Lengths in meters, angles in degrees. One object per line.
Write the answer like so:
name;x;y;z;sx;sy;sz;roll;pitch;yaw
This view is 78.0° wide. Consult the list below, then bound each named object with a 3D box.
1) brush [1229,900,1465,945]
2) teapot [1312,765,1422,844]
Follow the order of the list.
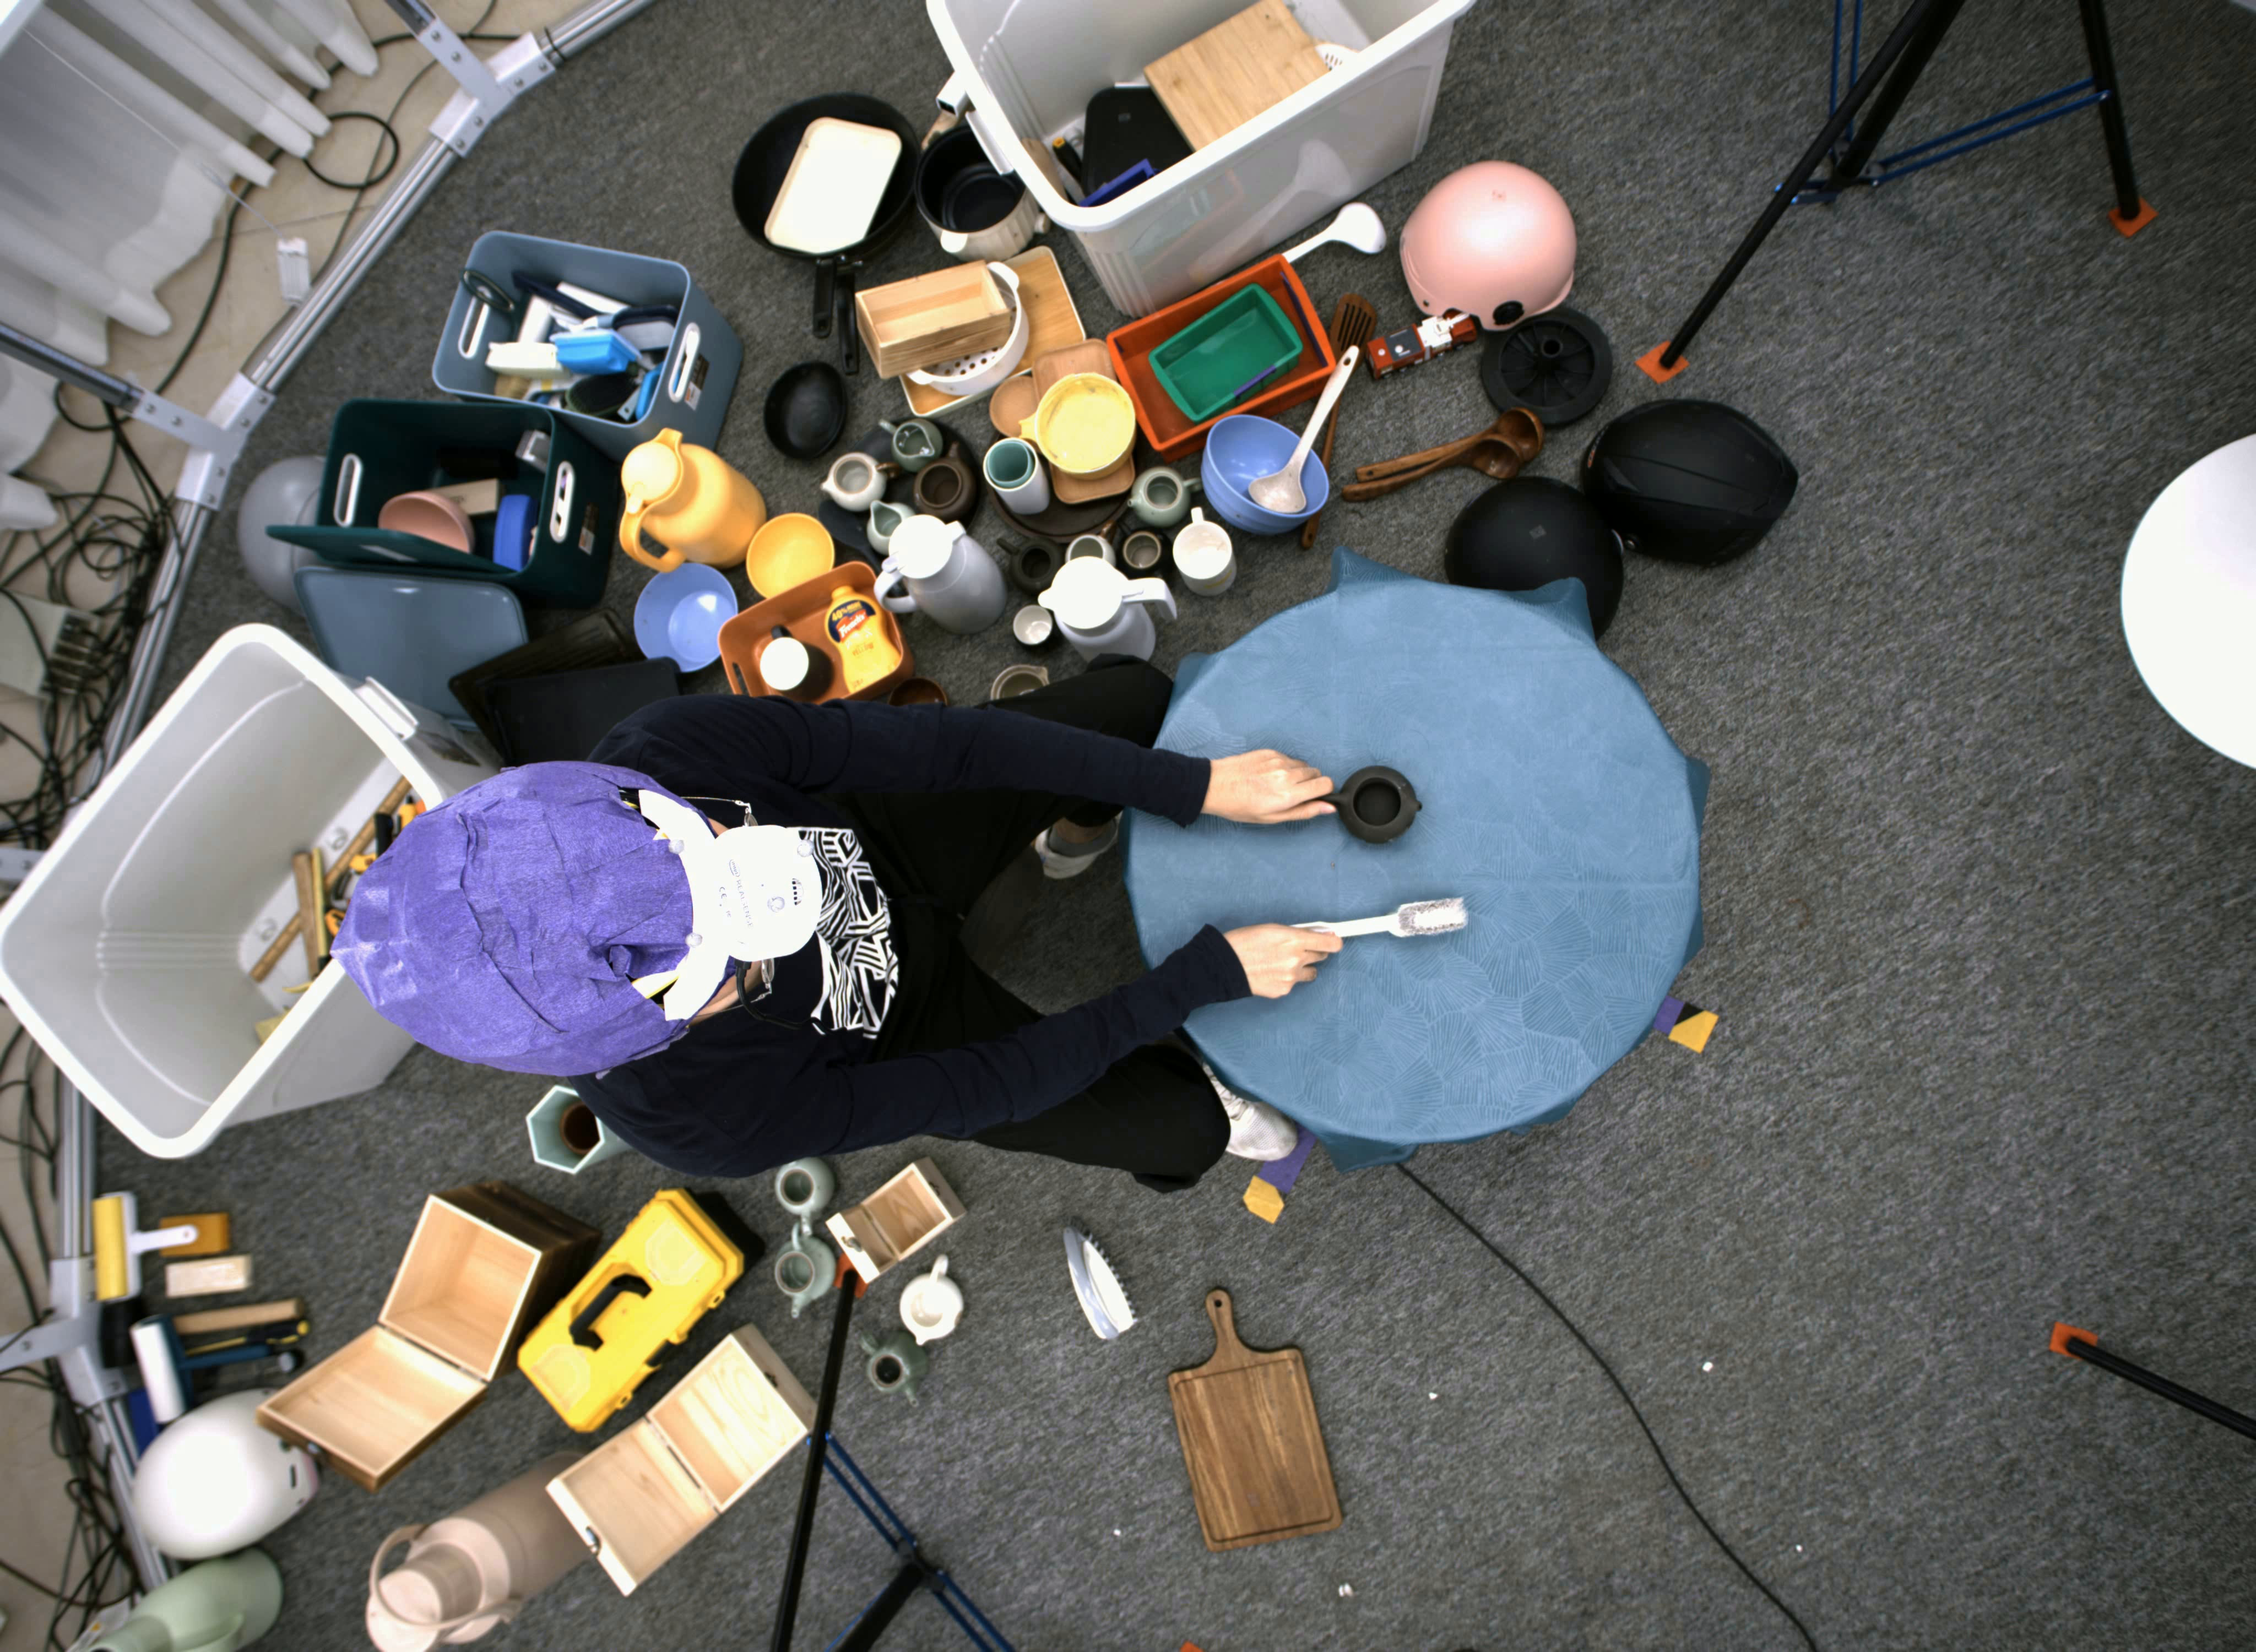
brush;0.225;0.101;1.432;0.244;0.050;0.034;-6;89;5
teapot;0.249;-0.026;1.442;0.114;0.053;0.083;7;88;11
